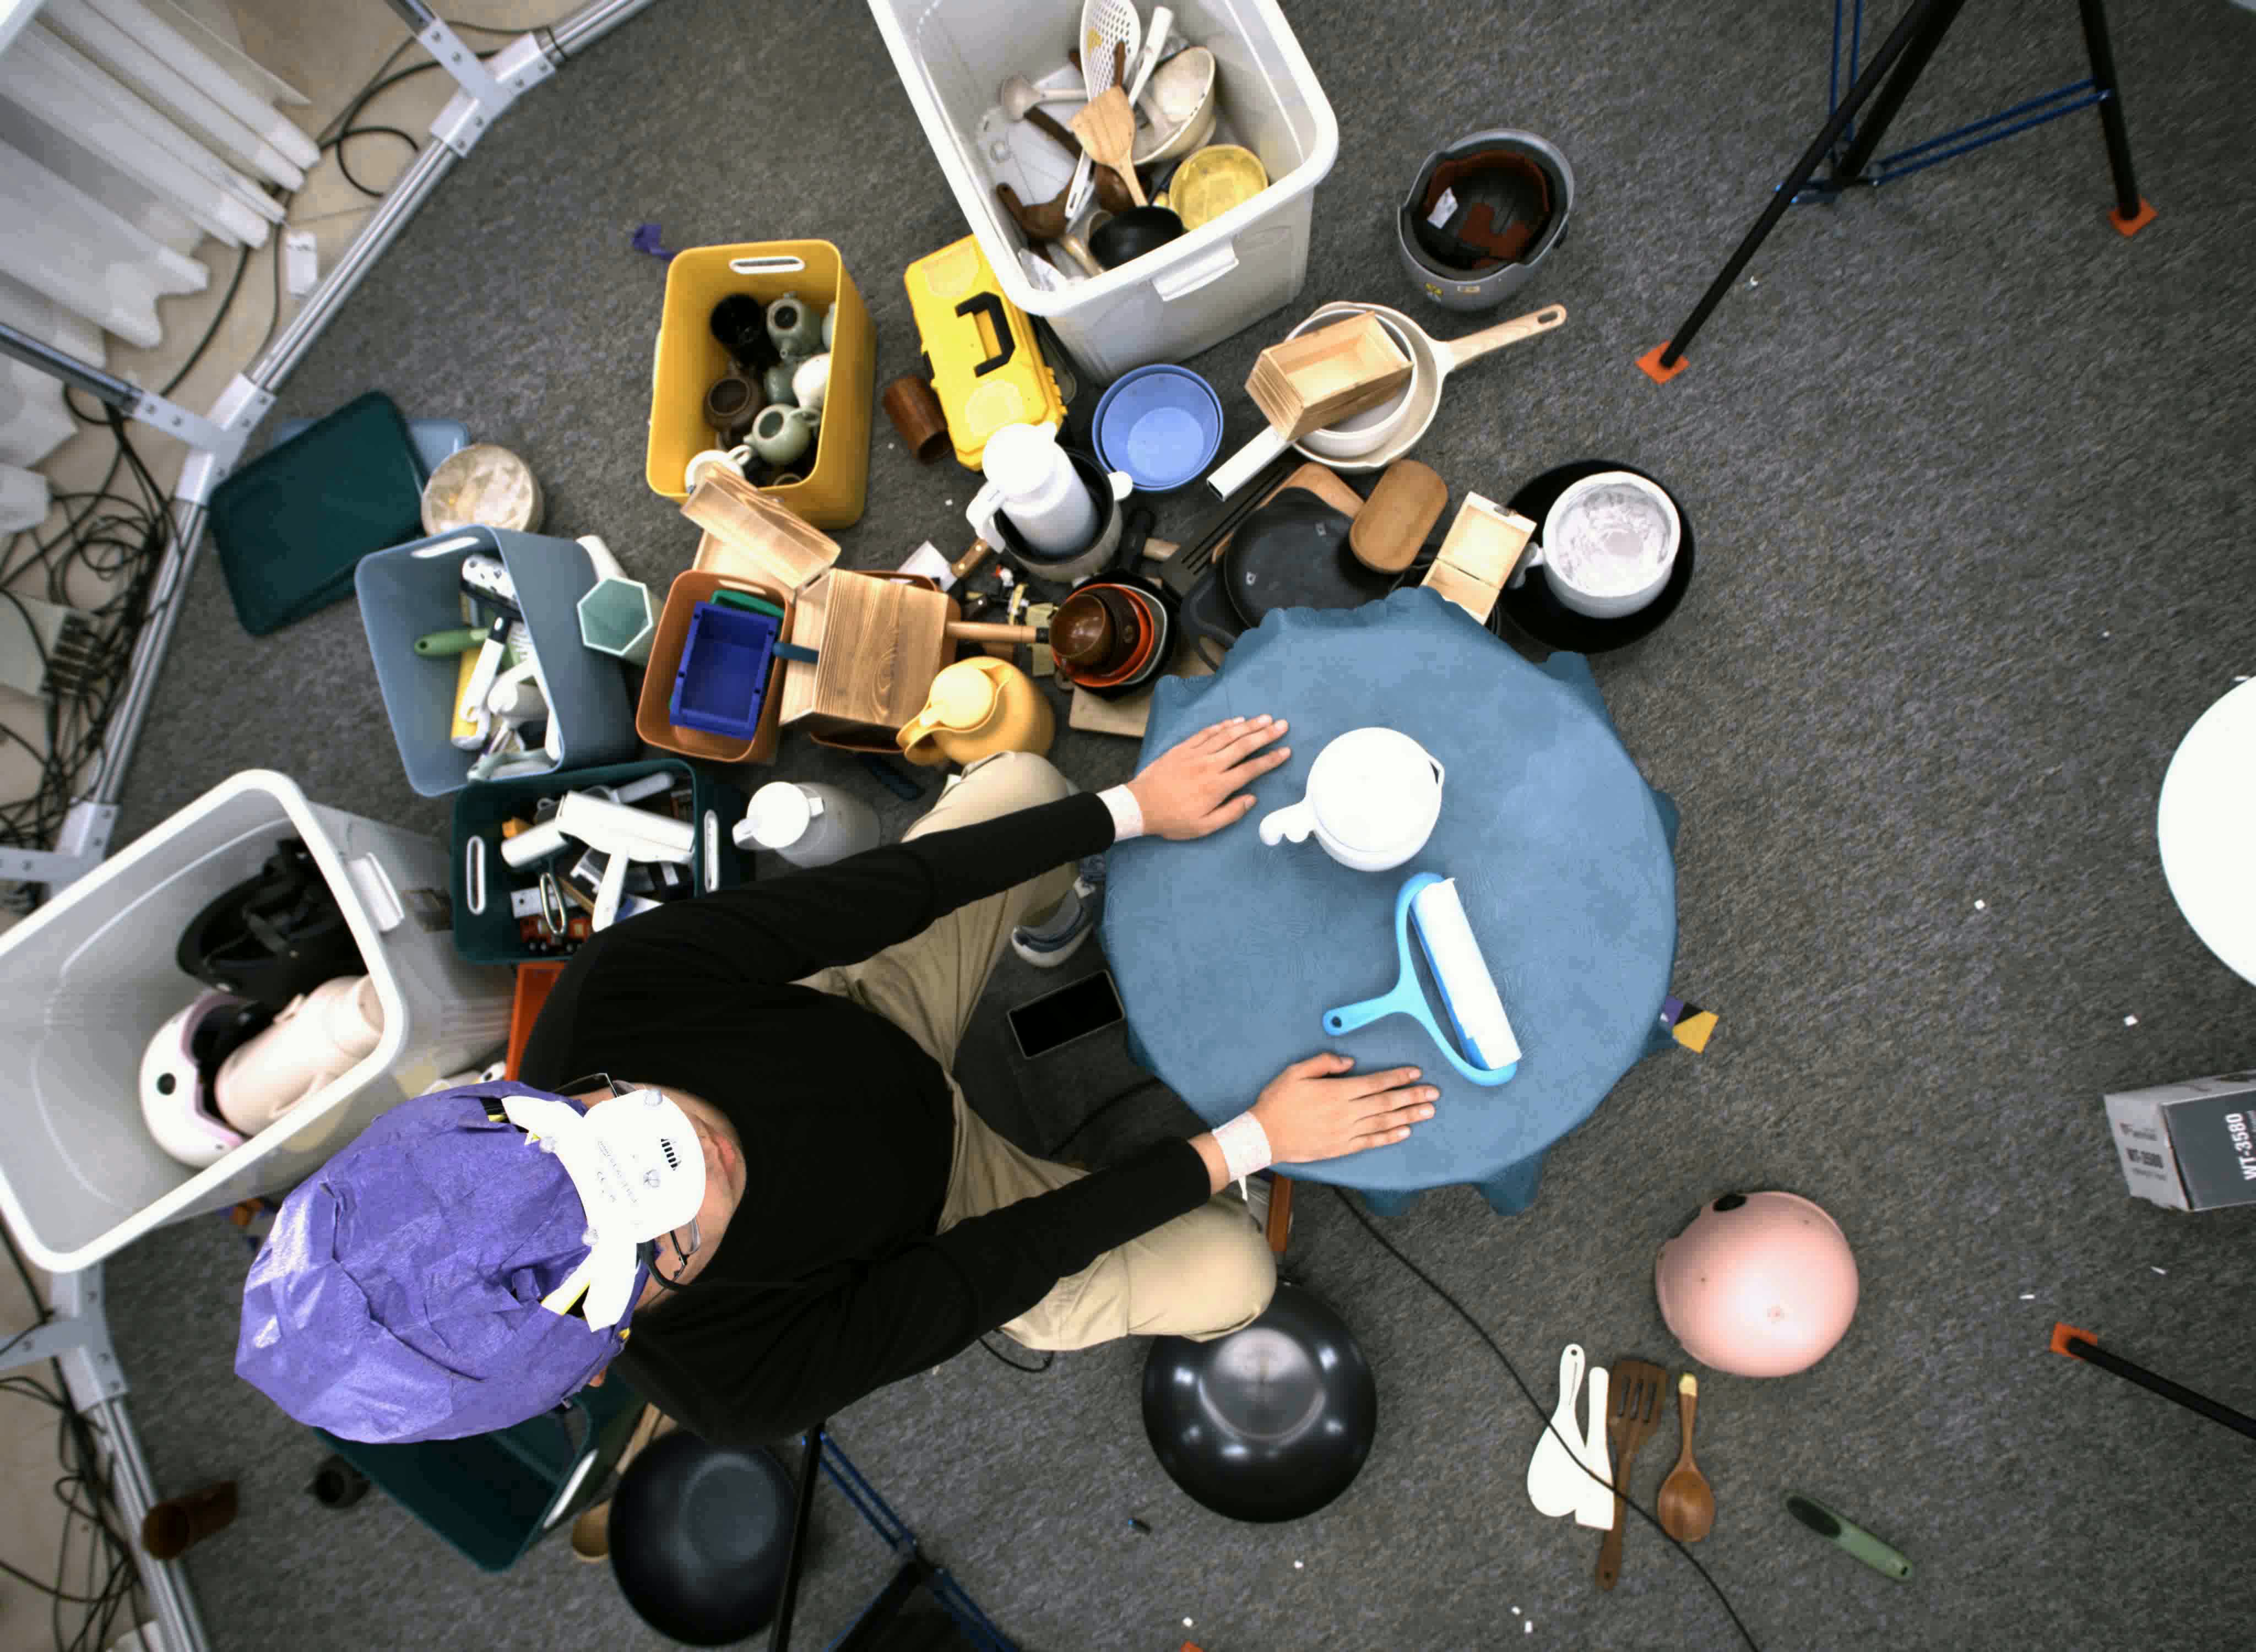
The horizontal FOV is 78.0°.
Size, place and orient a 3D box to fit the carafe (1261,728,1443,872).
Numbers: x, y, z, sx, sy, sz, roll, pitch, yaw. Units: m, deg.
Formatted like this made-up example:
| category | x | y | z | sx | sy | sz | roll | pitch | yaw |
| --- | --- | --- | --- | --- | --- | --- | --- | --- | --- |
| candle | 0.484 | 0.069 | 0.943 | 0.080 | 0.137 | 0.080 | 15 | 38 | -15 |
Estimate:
| category | x | y | z | sx | sy | sz | roll | pitch | yaw |
| --- | --- | --- | --- | --- | --- | --- | --- | --- | --- |
| carafe | 0.223 | -0.018 | 1.387 | 0.192 | 0.182 | 0.131 | -19 | 81 | 10 |

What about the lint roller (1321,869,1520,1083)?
| category | x | y | z | sx | sy | sz | roll | pitch | yaw |
| --- | --- | --- | --- | --- | --- | --- | --- | --- | --- |
| lint roller | 0.287 | 0.174 | 1.421 | 0.181 | 0.068 | 0.228 | -23 | 86 | 3 |
